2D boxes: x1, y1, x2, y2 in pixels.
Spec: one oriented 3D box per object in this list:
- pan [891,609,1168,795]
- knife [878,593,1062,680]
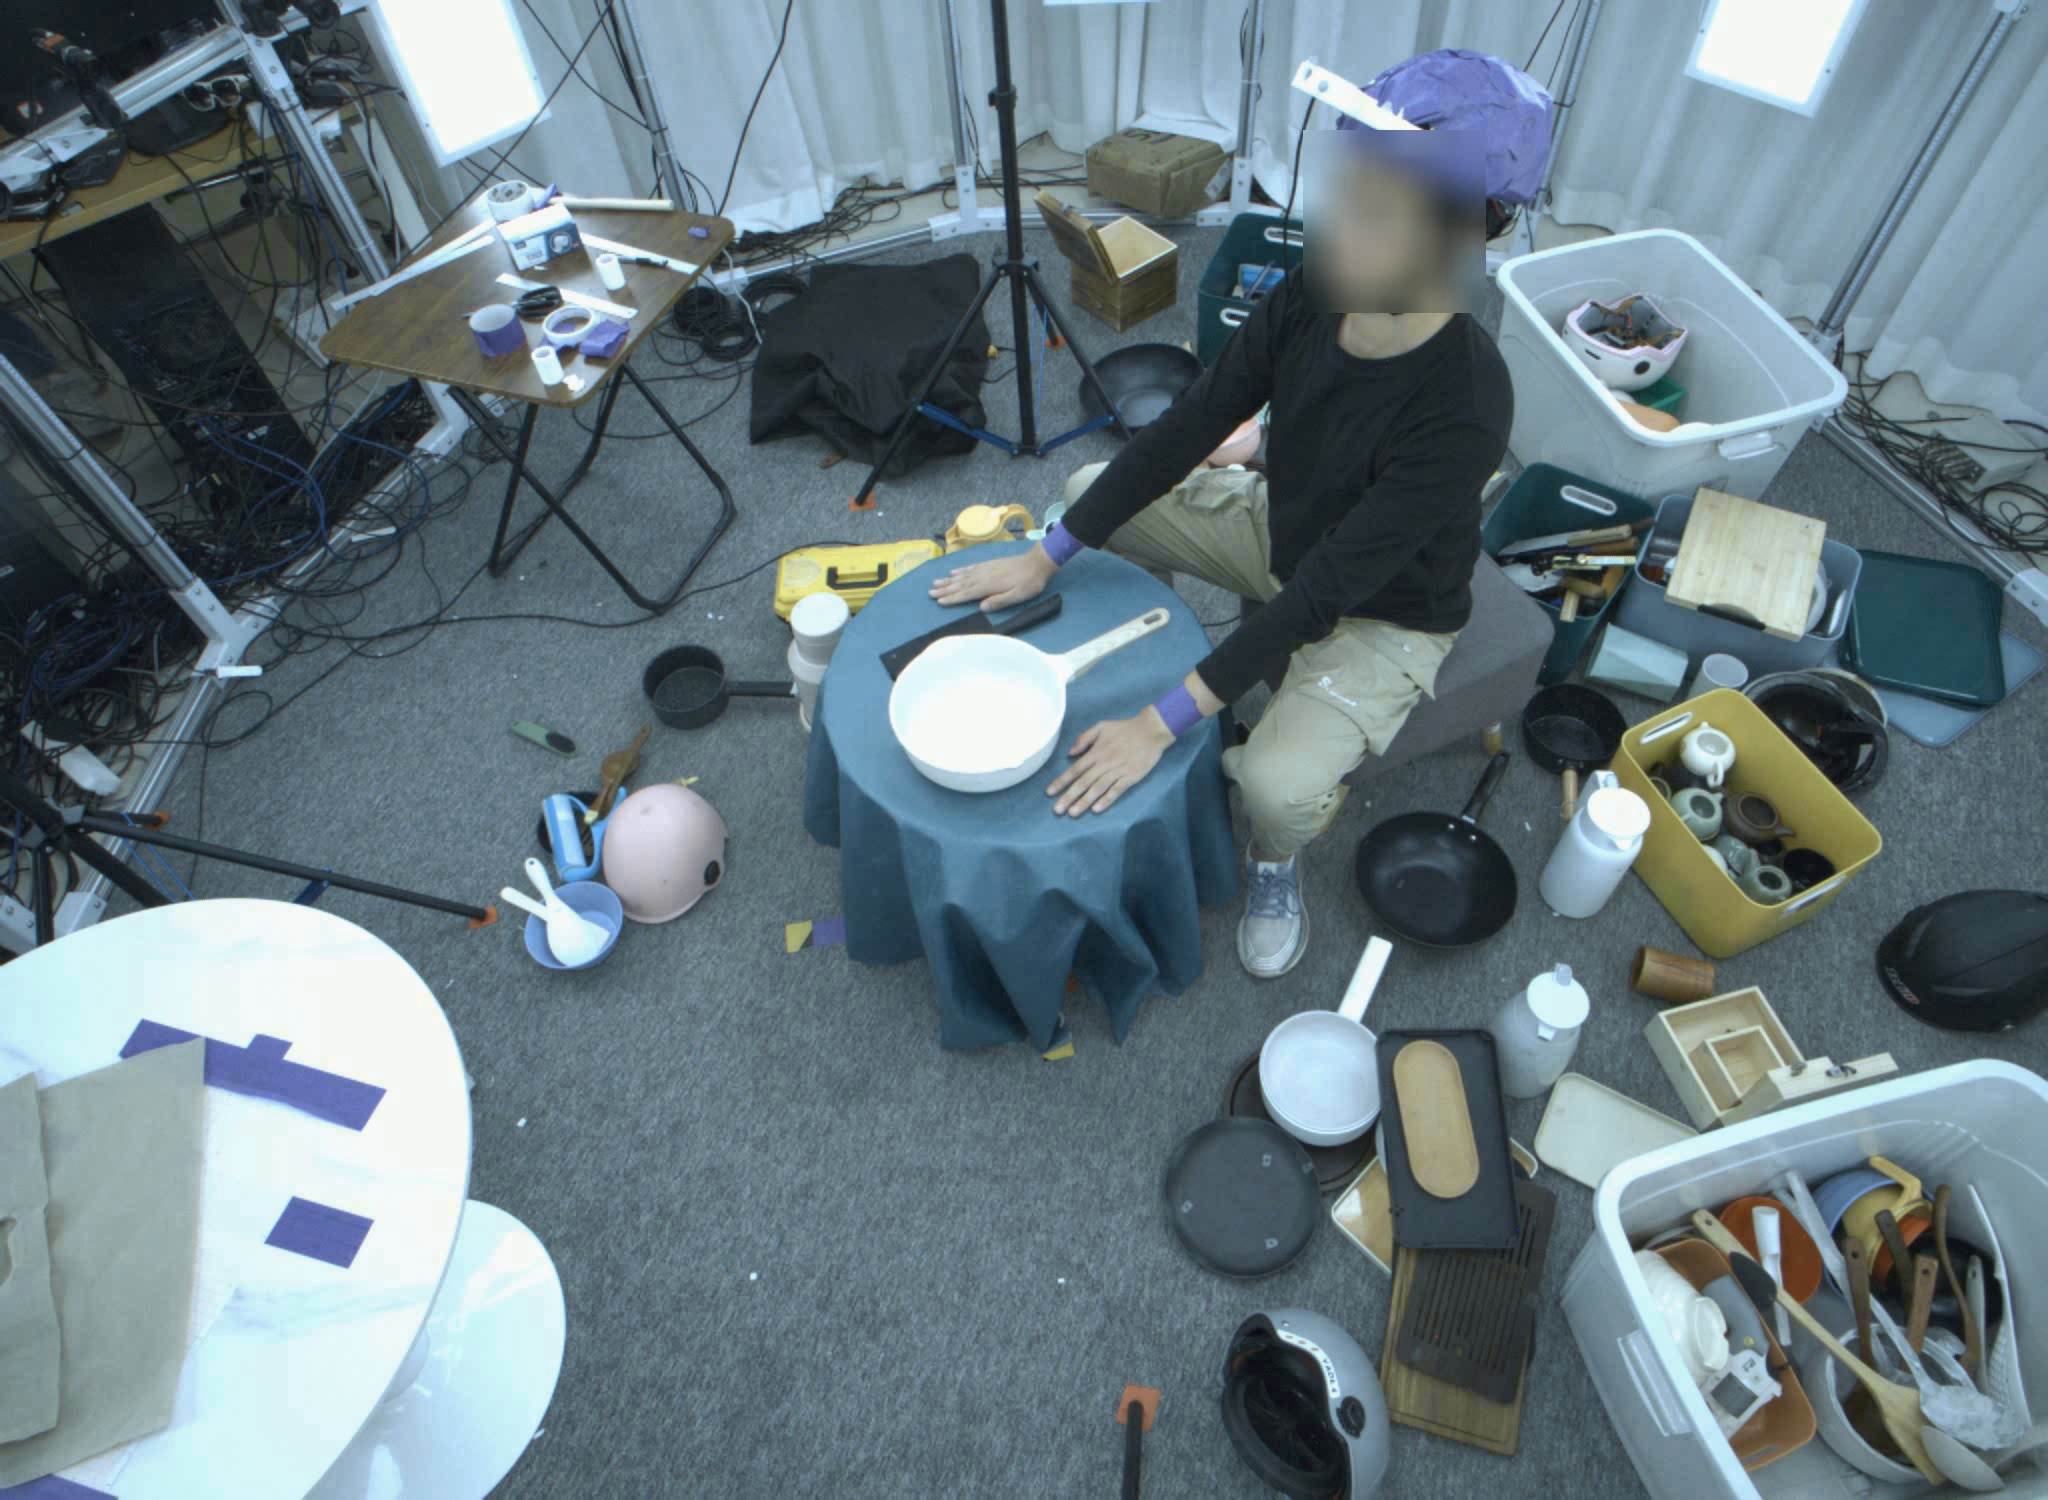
[{"bbox_3d":[0.020,-0.084,1.782,0.438,0.103,0.258,-24,56,-14],"label":"pan"},{"bbox_3d":[-0.080,-0.184,1.909,0.304,0.021,0.079,-20,55,-10],"label":"knife"}]
